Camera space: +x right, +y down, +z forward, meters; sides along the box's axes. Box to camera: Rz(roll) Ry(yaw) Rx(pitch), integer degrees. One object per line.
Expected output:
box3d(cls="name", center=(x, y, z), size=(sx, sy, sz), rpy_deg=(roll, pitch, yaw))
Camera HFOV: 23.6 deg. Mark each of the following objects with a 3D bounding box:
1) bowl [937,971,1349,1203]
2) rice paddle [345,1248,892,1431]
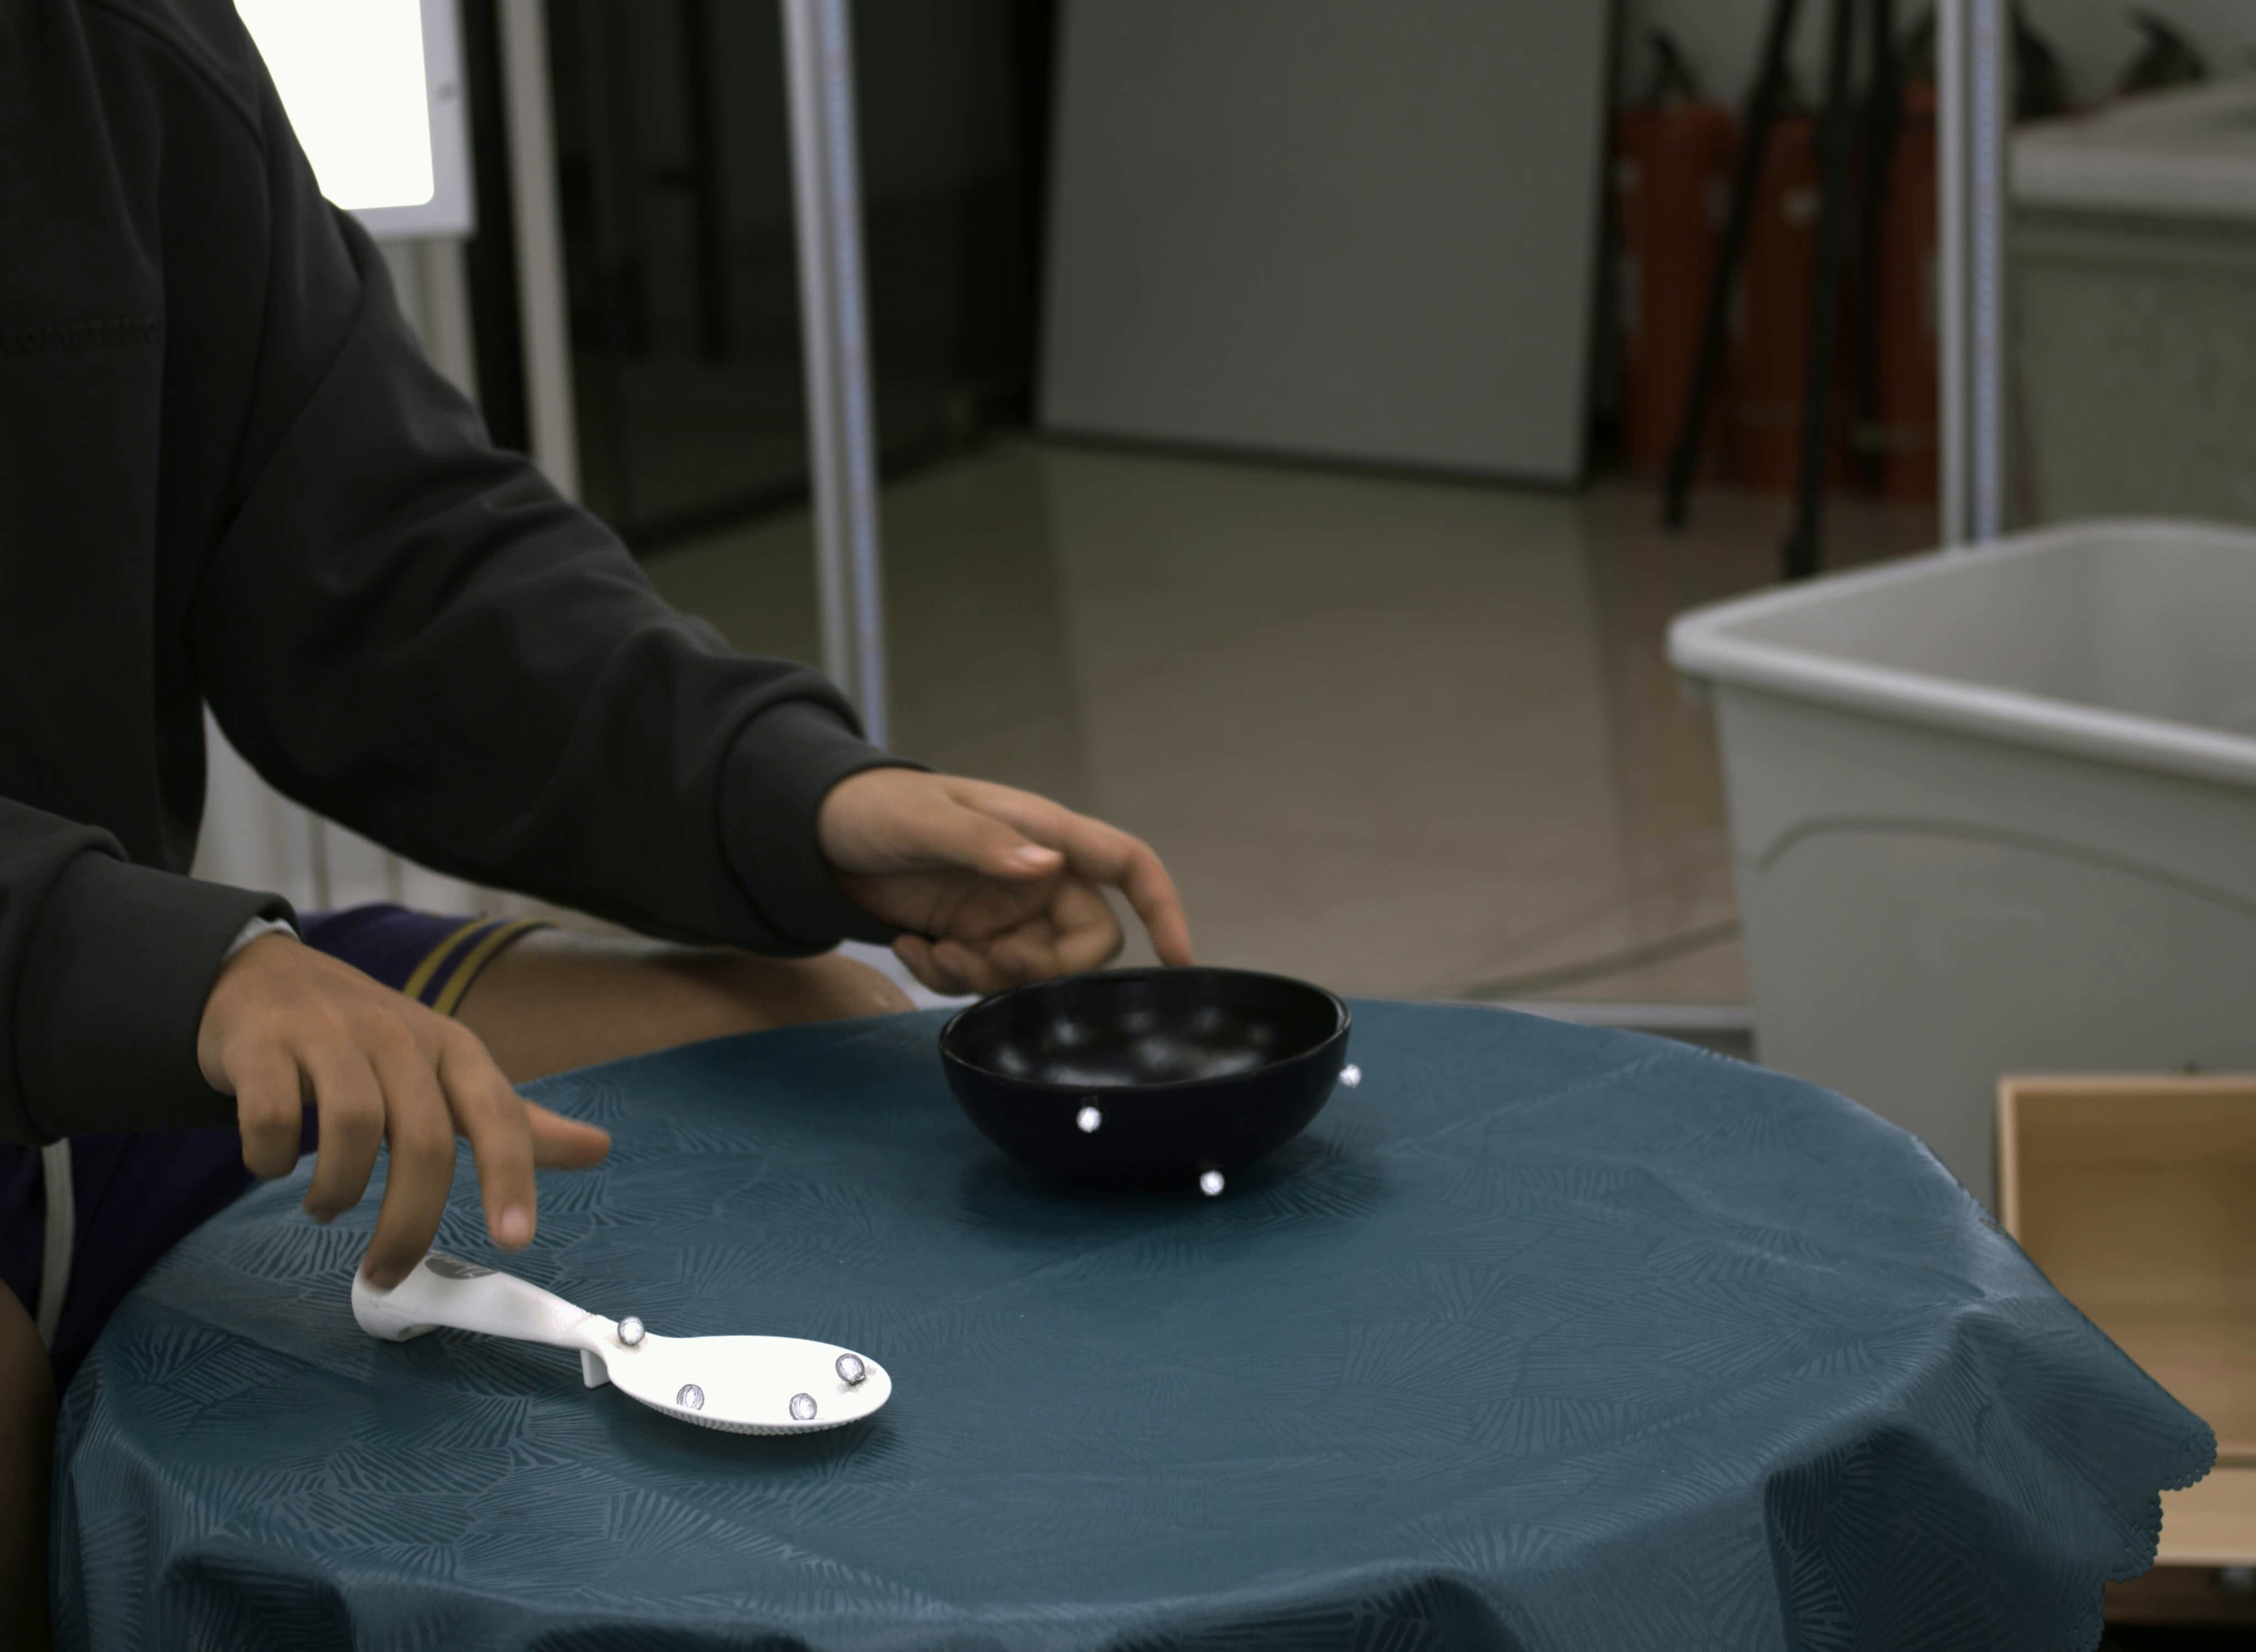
box3d(cls="bowl", center=(0.007, 0.091, 1.792), size=(0.138, 0.050, 0.140), rpy_deg=(-5, 14, 0))
box3d(cls="rice paddle", center=(-0.153, 0.154, 1.613), size=(0.207, 0.030, 0.067), rpy_deg=(7, 16, 40))
